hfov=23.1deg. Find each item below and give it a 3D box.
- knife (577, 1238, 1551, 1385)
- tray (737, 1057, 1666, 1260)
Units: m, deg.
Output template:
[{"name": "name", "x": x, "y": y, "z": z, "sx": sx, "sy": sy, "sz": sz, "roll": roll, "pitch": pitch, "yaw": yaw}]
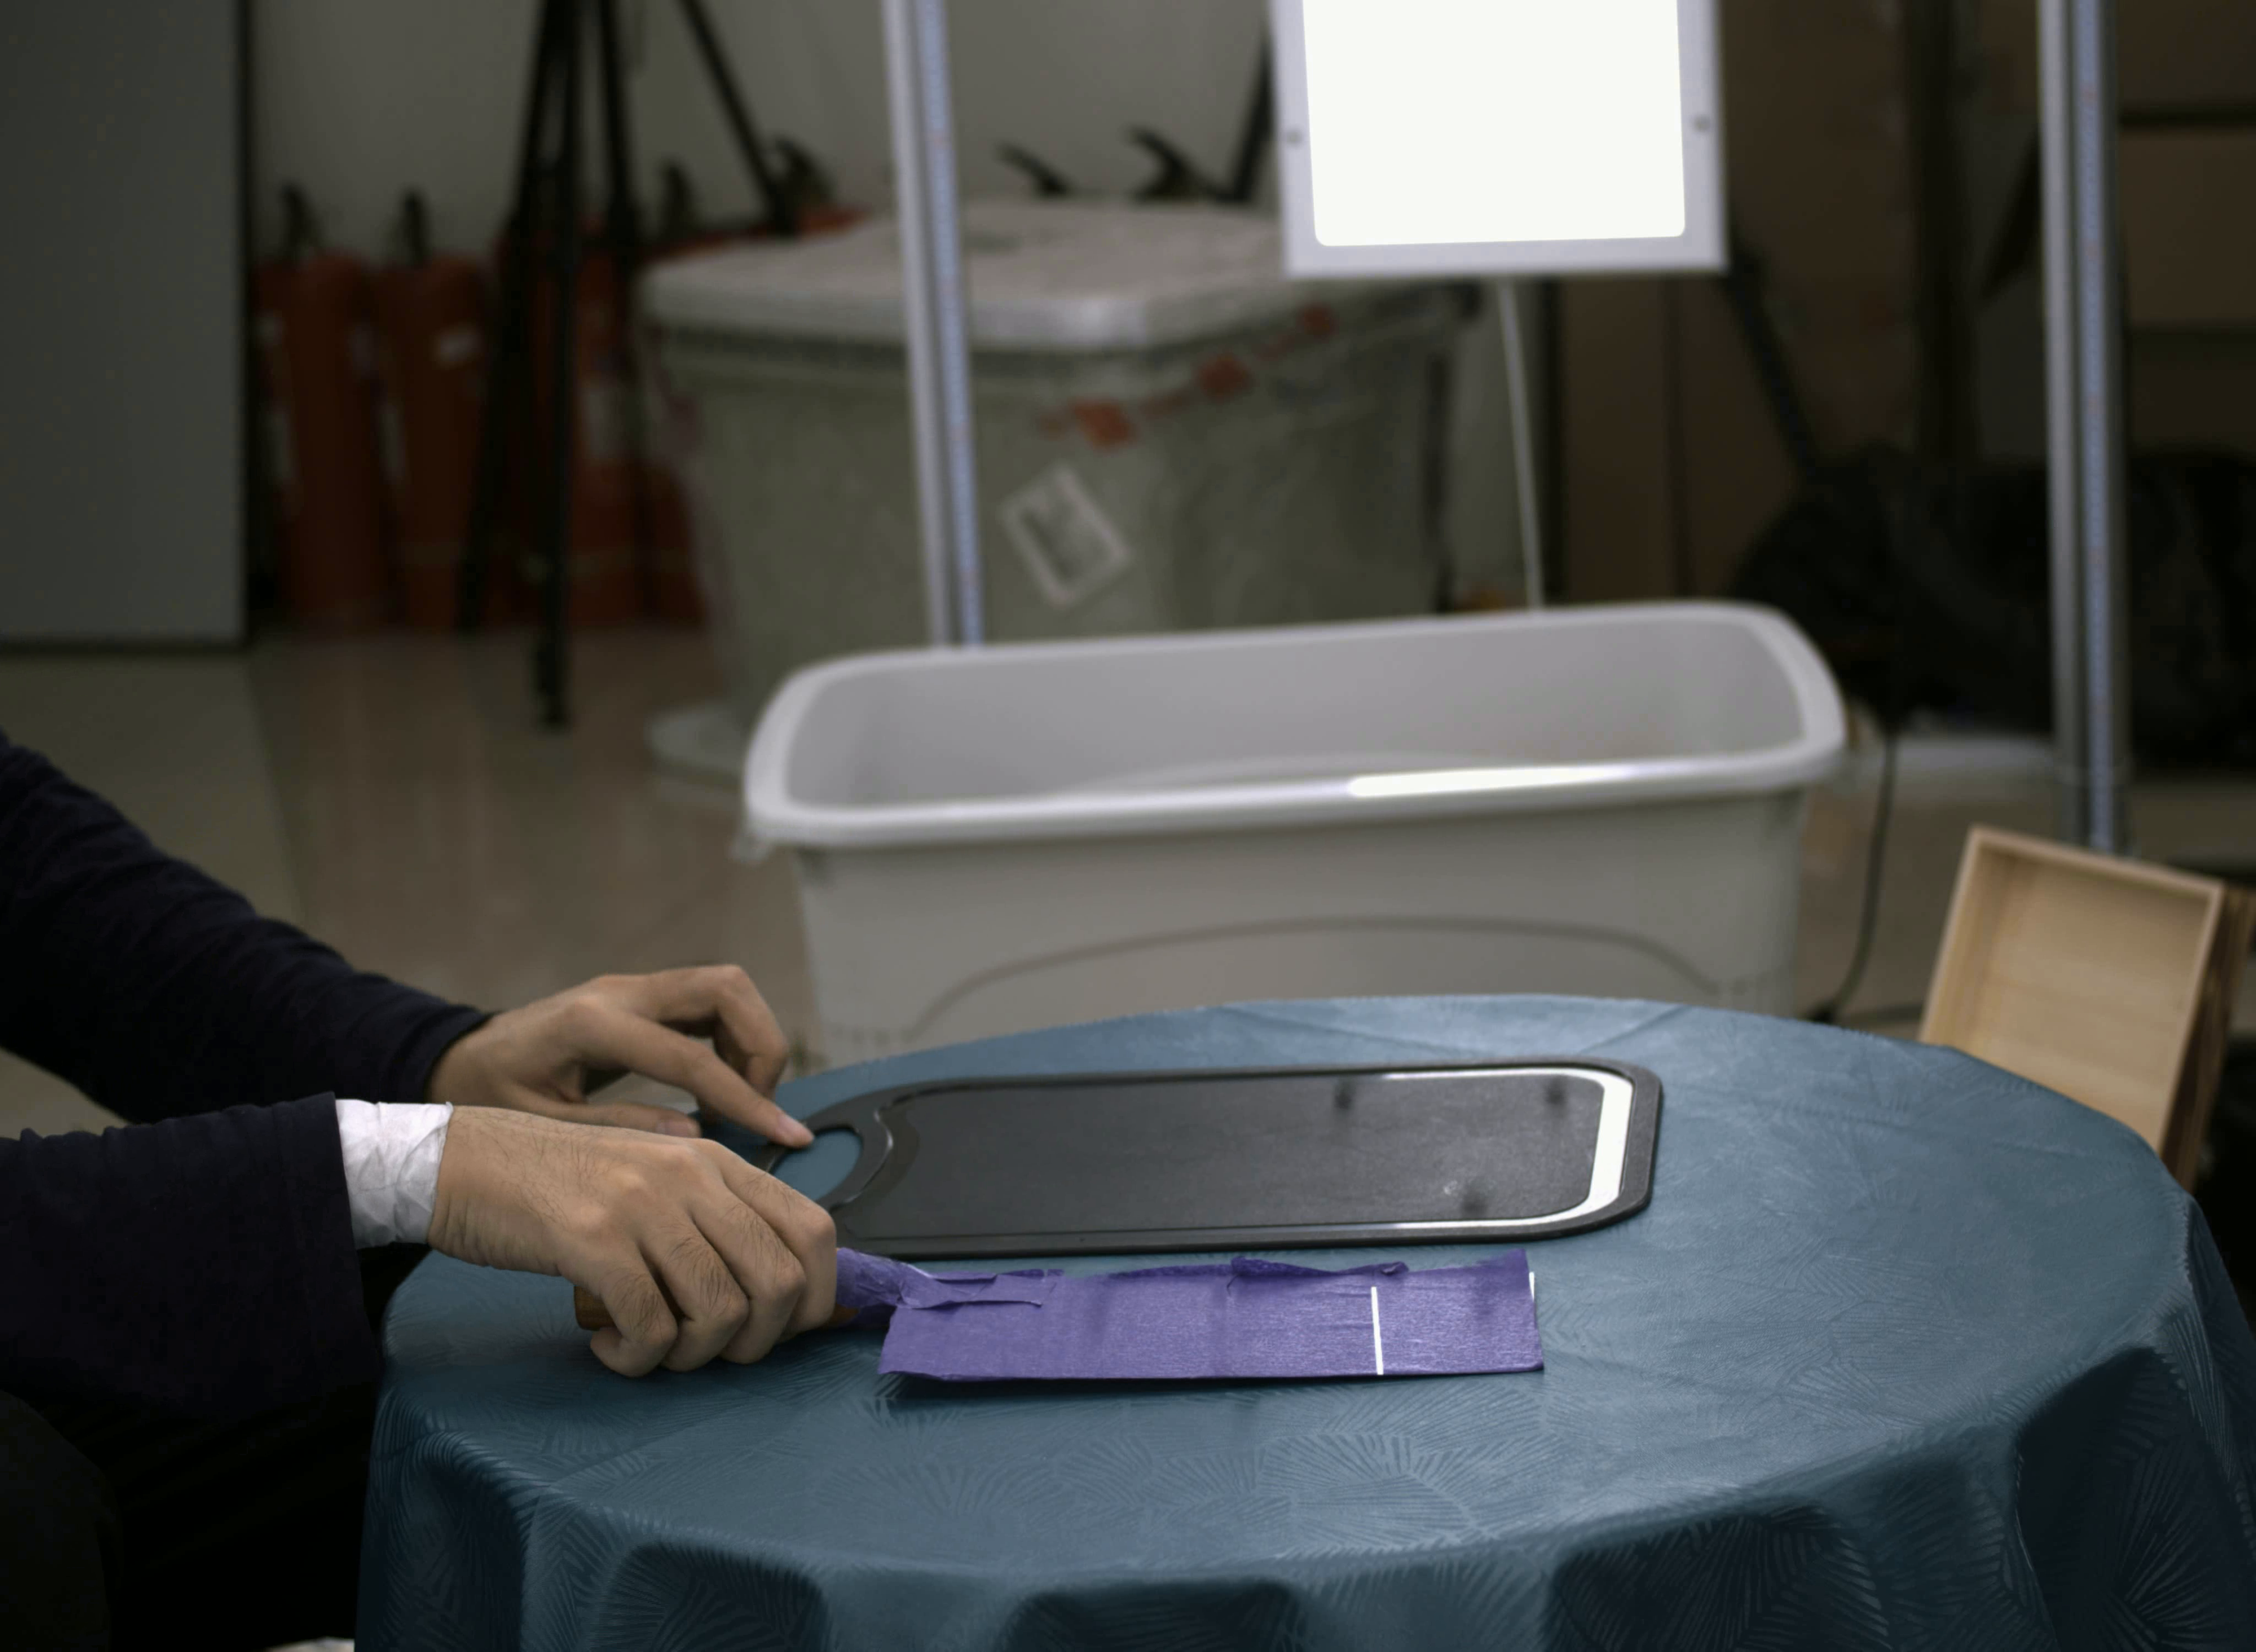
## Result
[{"name": "knife", "x": -0.024, "y": 0.153, "z": 1.747, "sx": 0.316, "sy": 0.032, "sz": 0.103, "roll": -3, "pitch": 14, "yaw": 6}, {"name": "tray", "x": 0.024, "y": 0.114, "z": 1.931, "sx": 0.327, "sy": 0.010, "sz": 0.209, "roll": -3, "pitch": 14, "yaw": 11}]
